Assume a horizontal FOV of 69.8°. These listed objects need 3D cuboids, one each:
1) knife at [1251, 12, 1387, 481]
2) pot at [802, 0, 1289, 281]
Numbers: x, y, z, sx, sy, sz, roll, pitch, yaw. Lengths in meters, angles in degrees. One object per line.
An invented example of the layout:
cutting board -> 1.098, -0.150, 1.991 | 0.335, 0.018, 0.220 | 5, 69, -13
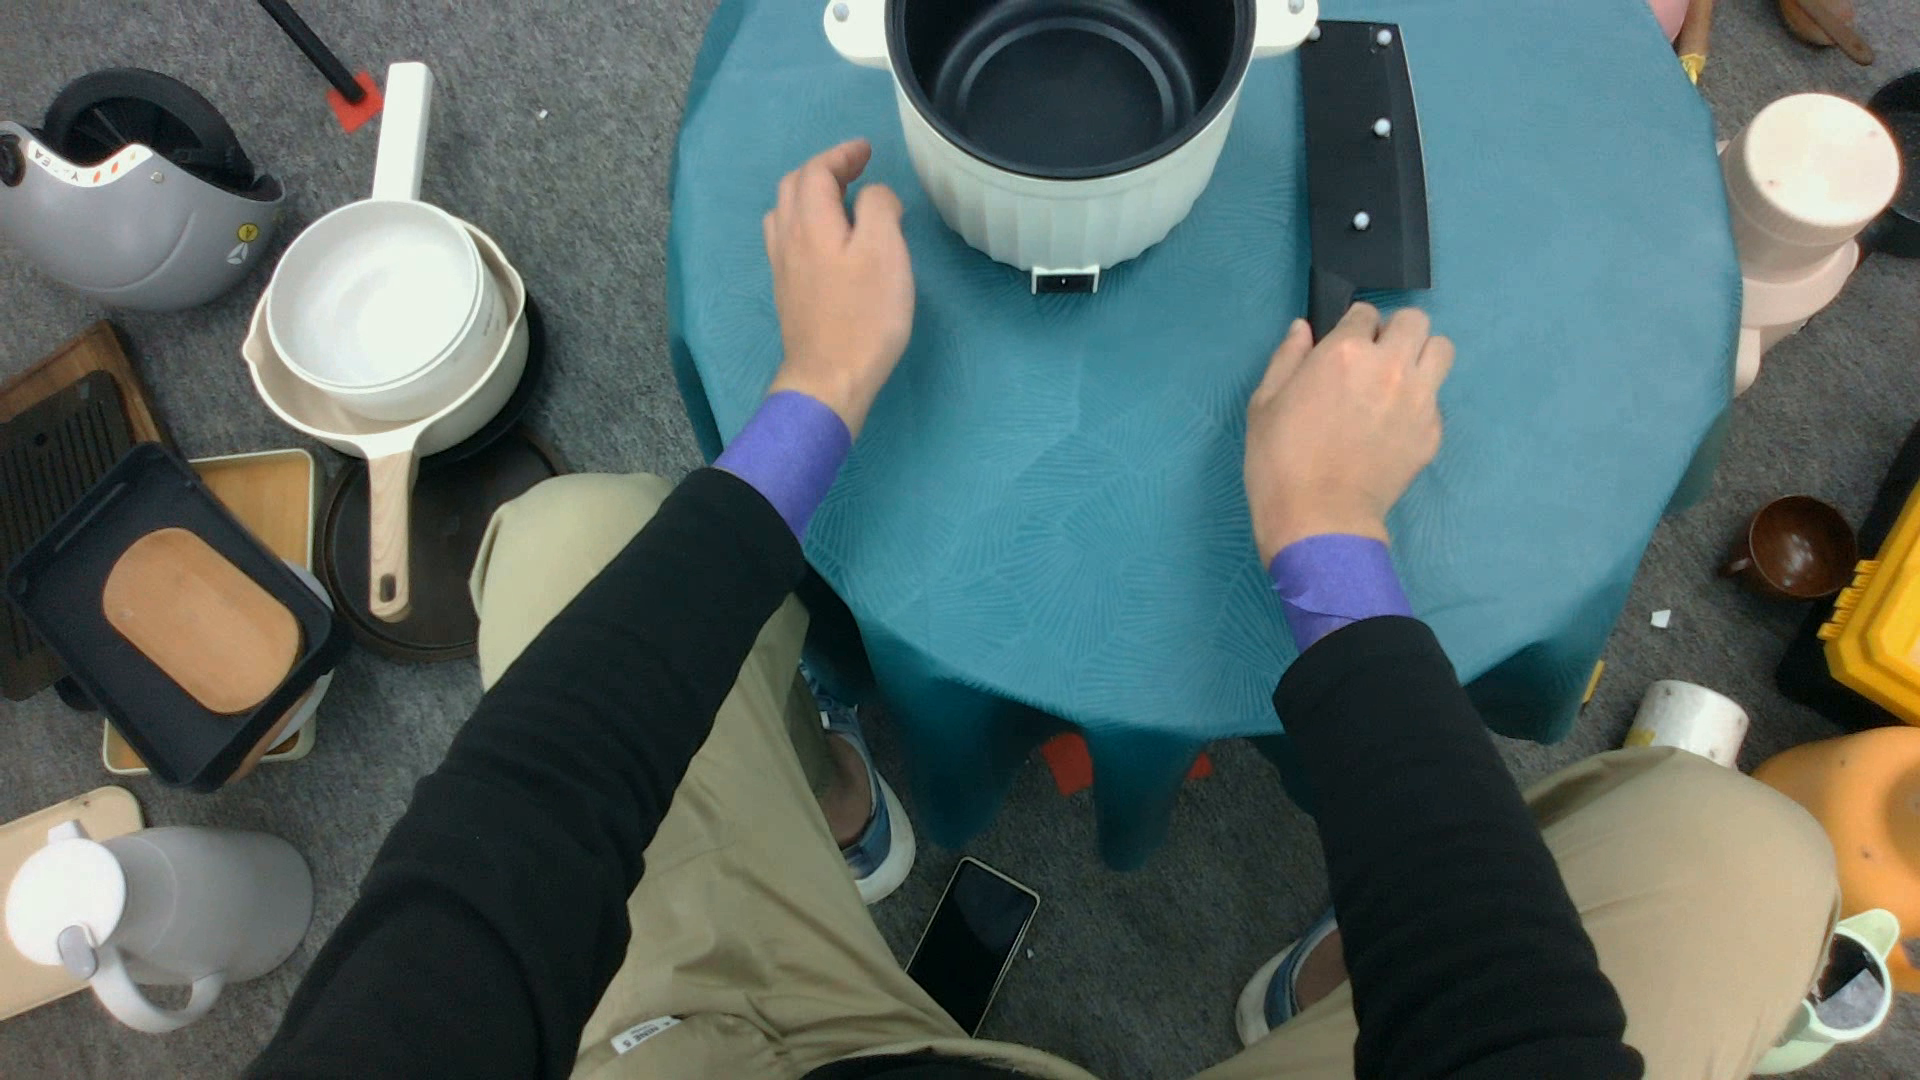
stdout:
knife -> 0.200, -0.175, 0.771 | 0.081, 0.021, 0.303 | 6, 69, -1
pot -> 0.042, -0.251, 0.739 | 0.240, 0.142, 0.191 | -2, 78, 0
